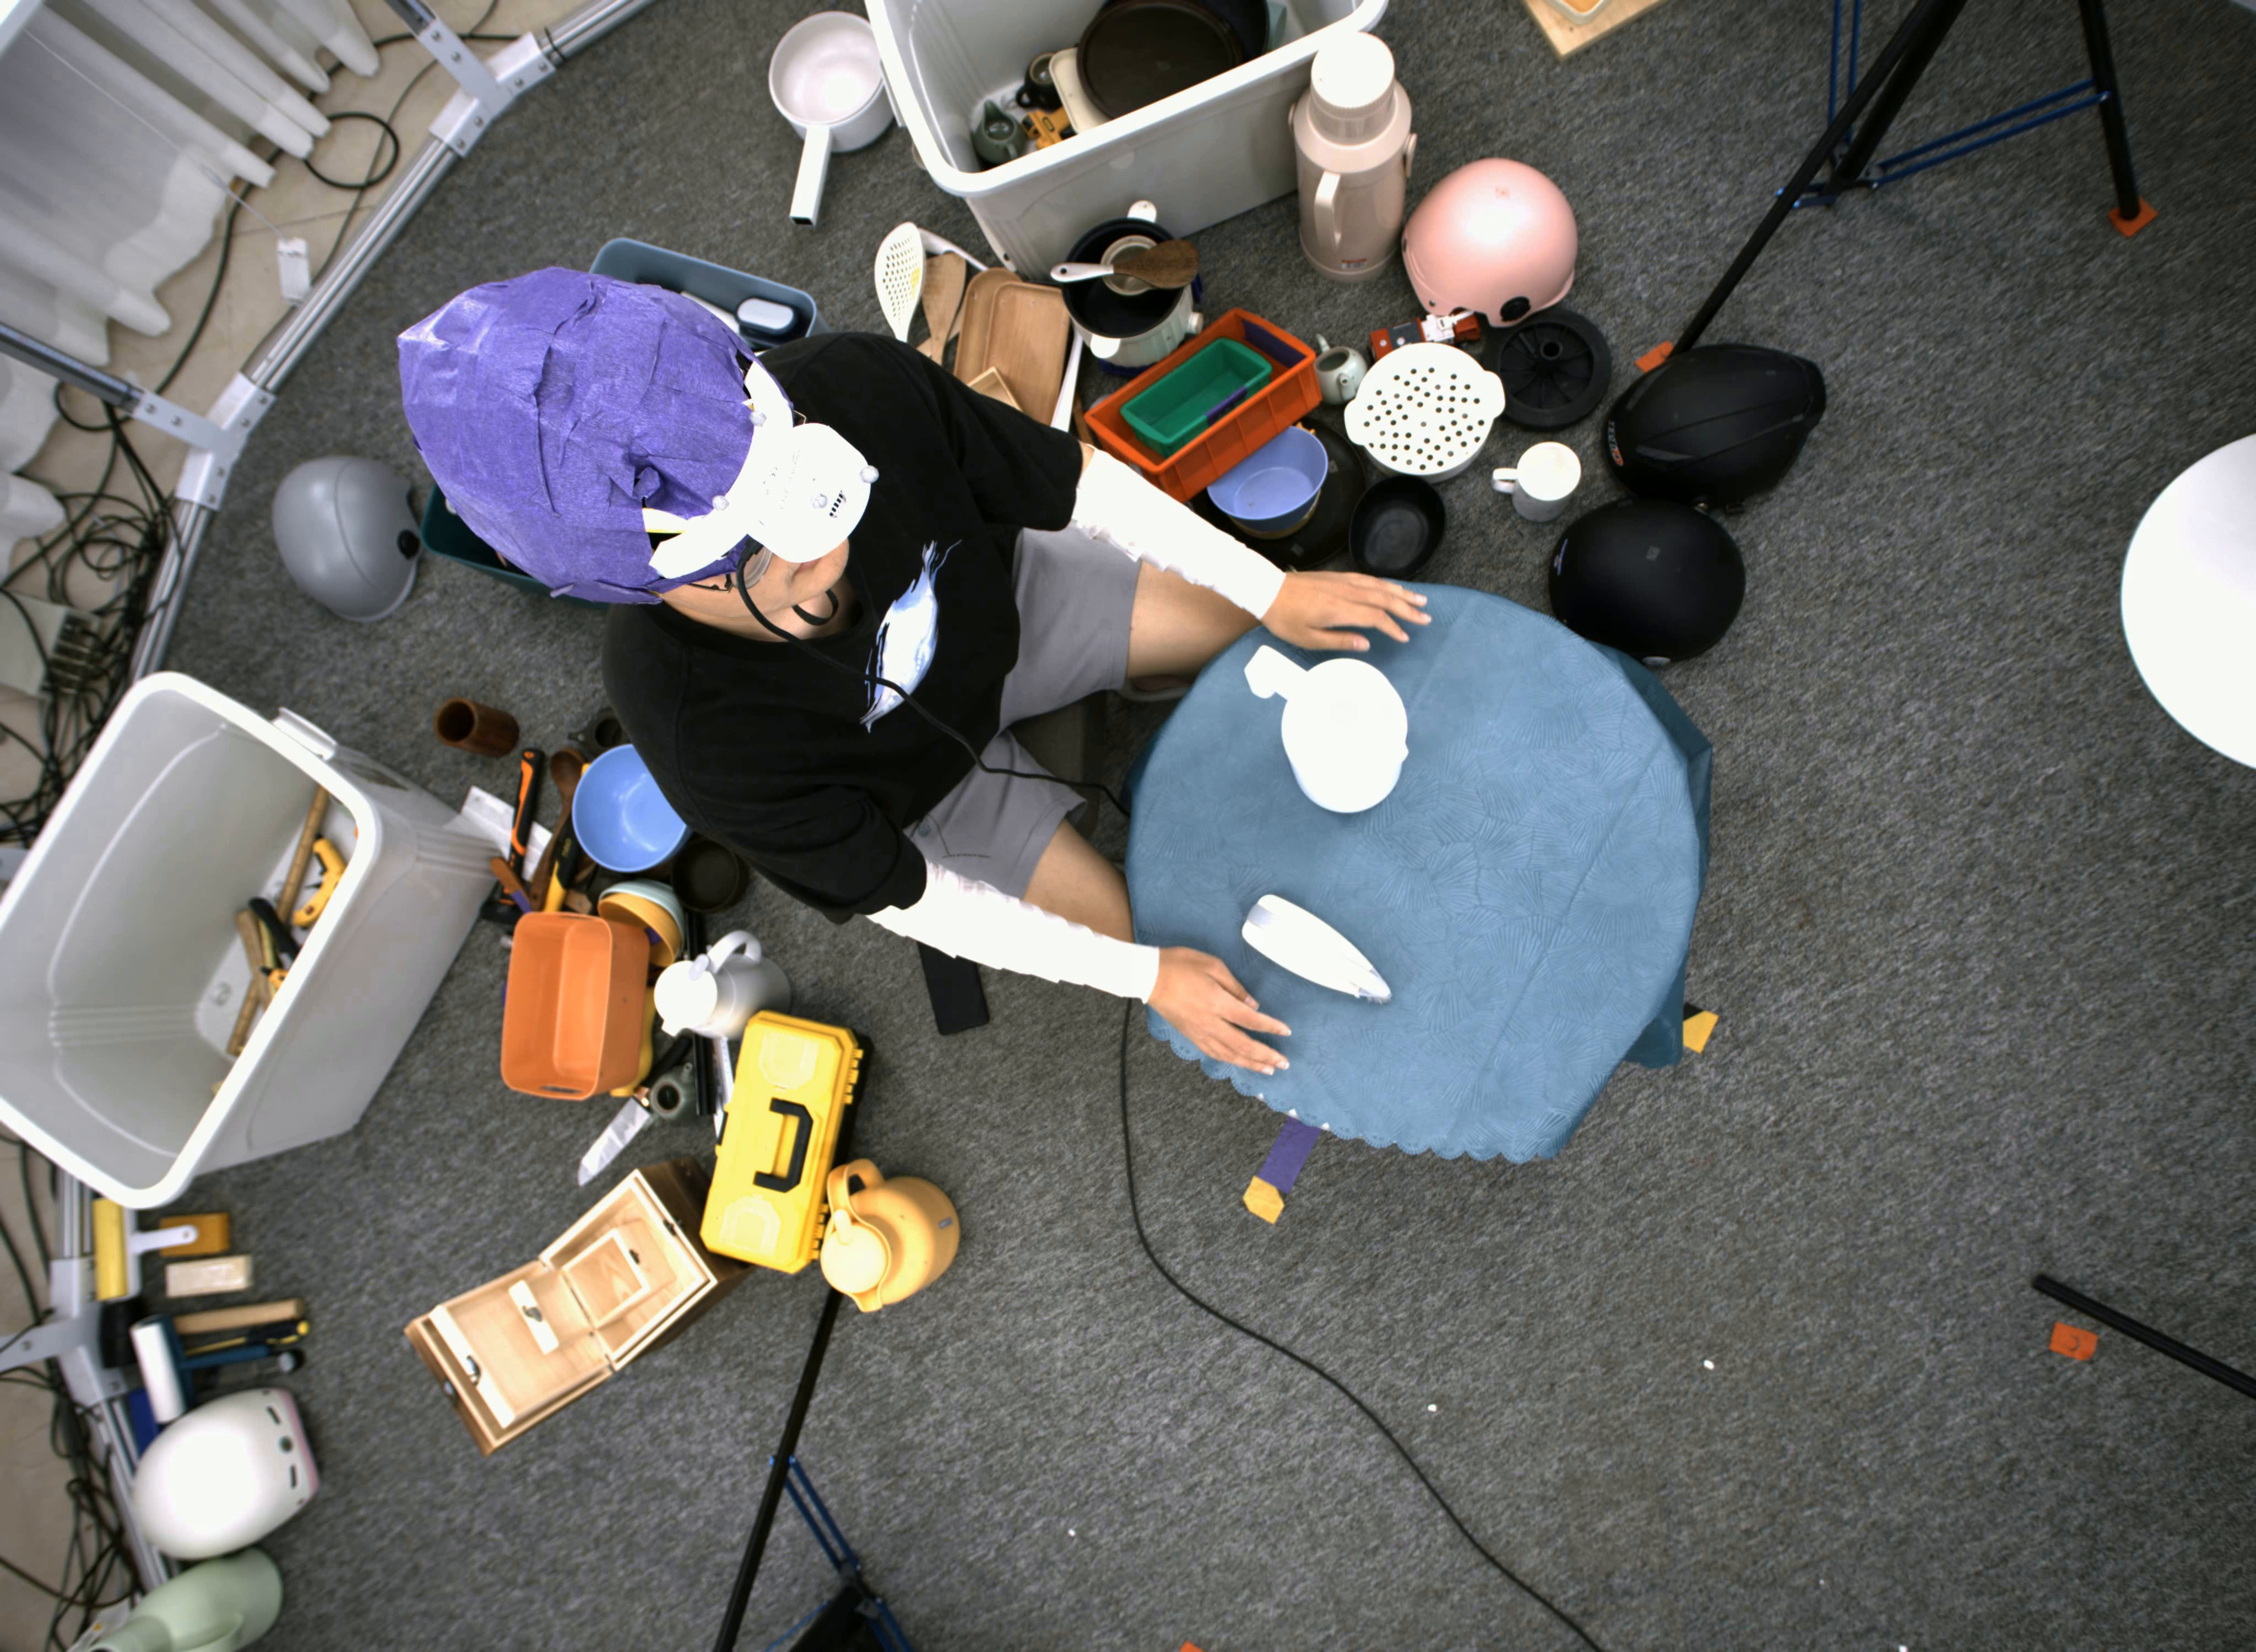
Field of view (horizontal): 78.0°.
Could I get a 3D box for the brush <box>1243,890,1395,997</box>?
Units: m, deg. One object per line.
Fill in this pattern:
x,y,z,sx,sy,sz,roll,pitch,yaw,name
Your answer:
0.198,0.128,1.423,0.175,0.094,0.061,31,93,9,brush

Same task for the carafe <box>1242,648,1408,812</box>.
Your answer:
0.196,-0.095,1.346,0.172,0.269,0.124,34,93,12,carafe
